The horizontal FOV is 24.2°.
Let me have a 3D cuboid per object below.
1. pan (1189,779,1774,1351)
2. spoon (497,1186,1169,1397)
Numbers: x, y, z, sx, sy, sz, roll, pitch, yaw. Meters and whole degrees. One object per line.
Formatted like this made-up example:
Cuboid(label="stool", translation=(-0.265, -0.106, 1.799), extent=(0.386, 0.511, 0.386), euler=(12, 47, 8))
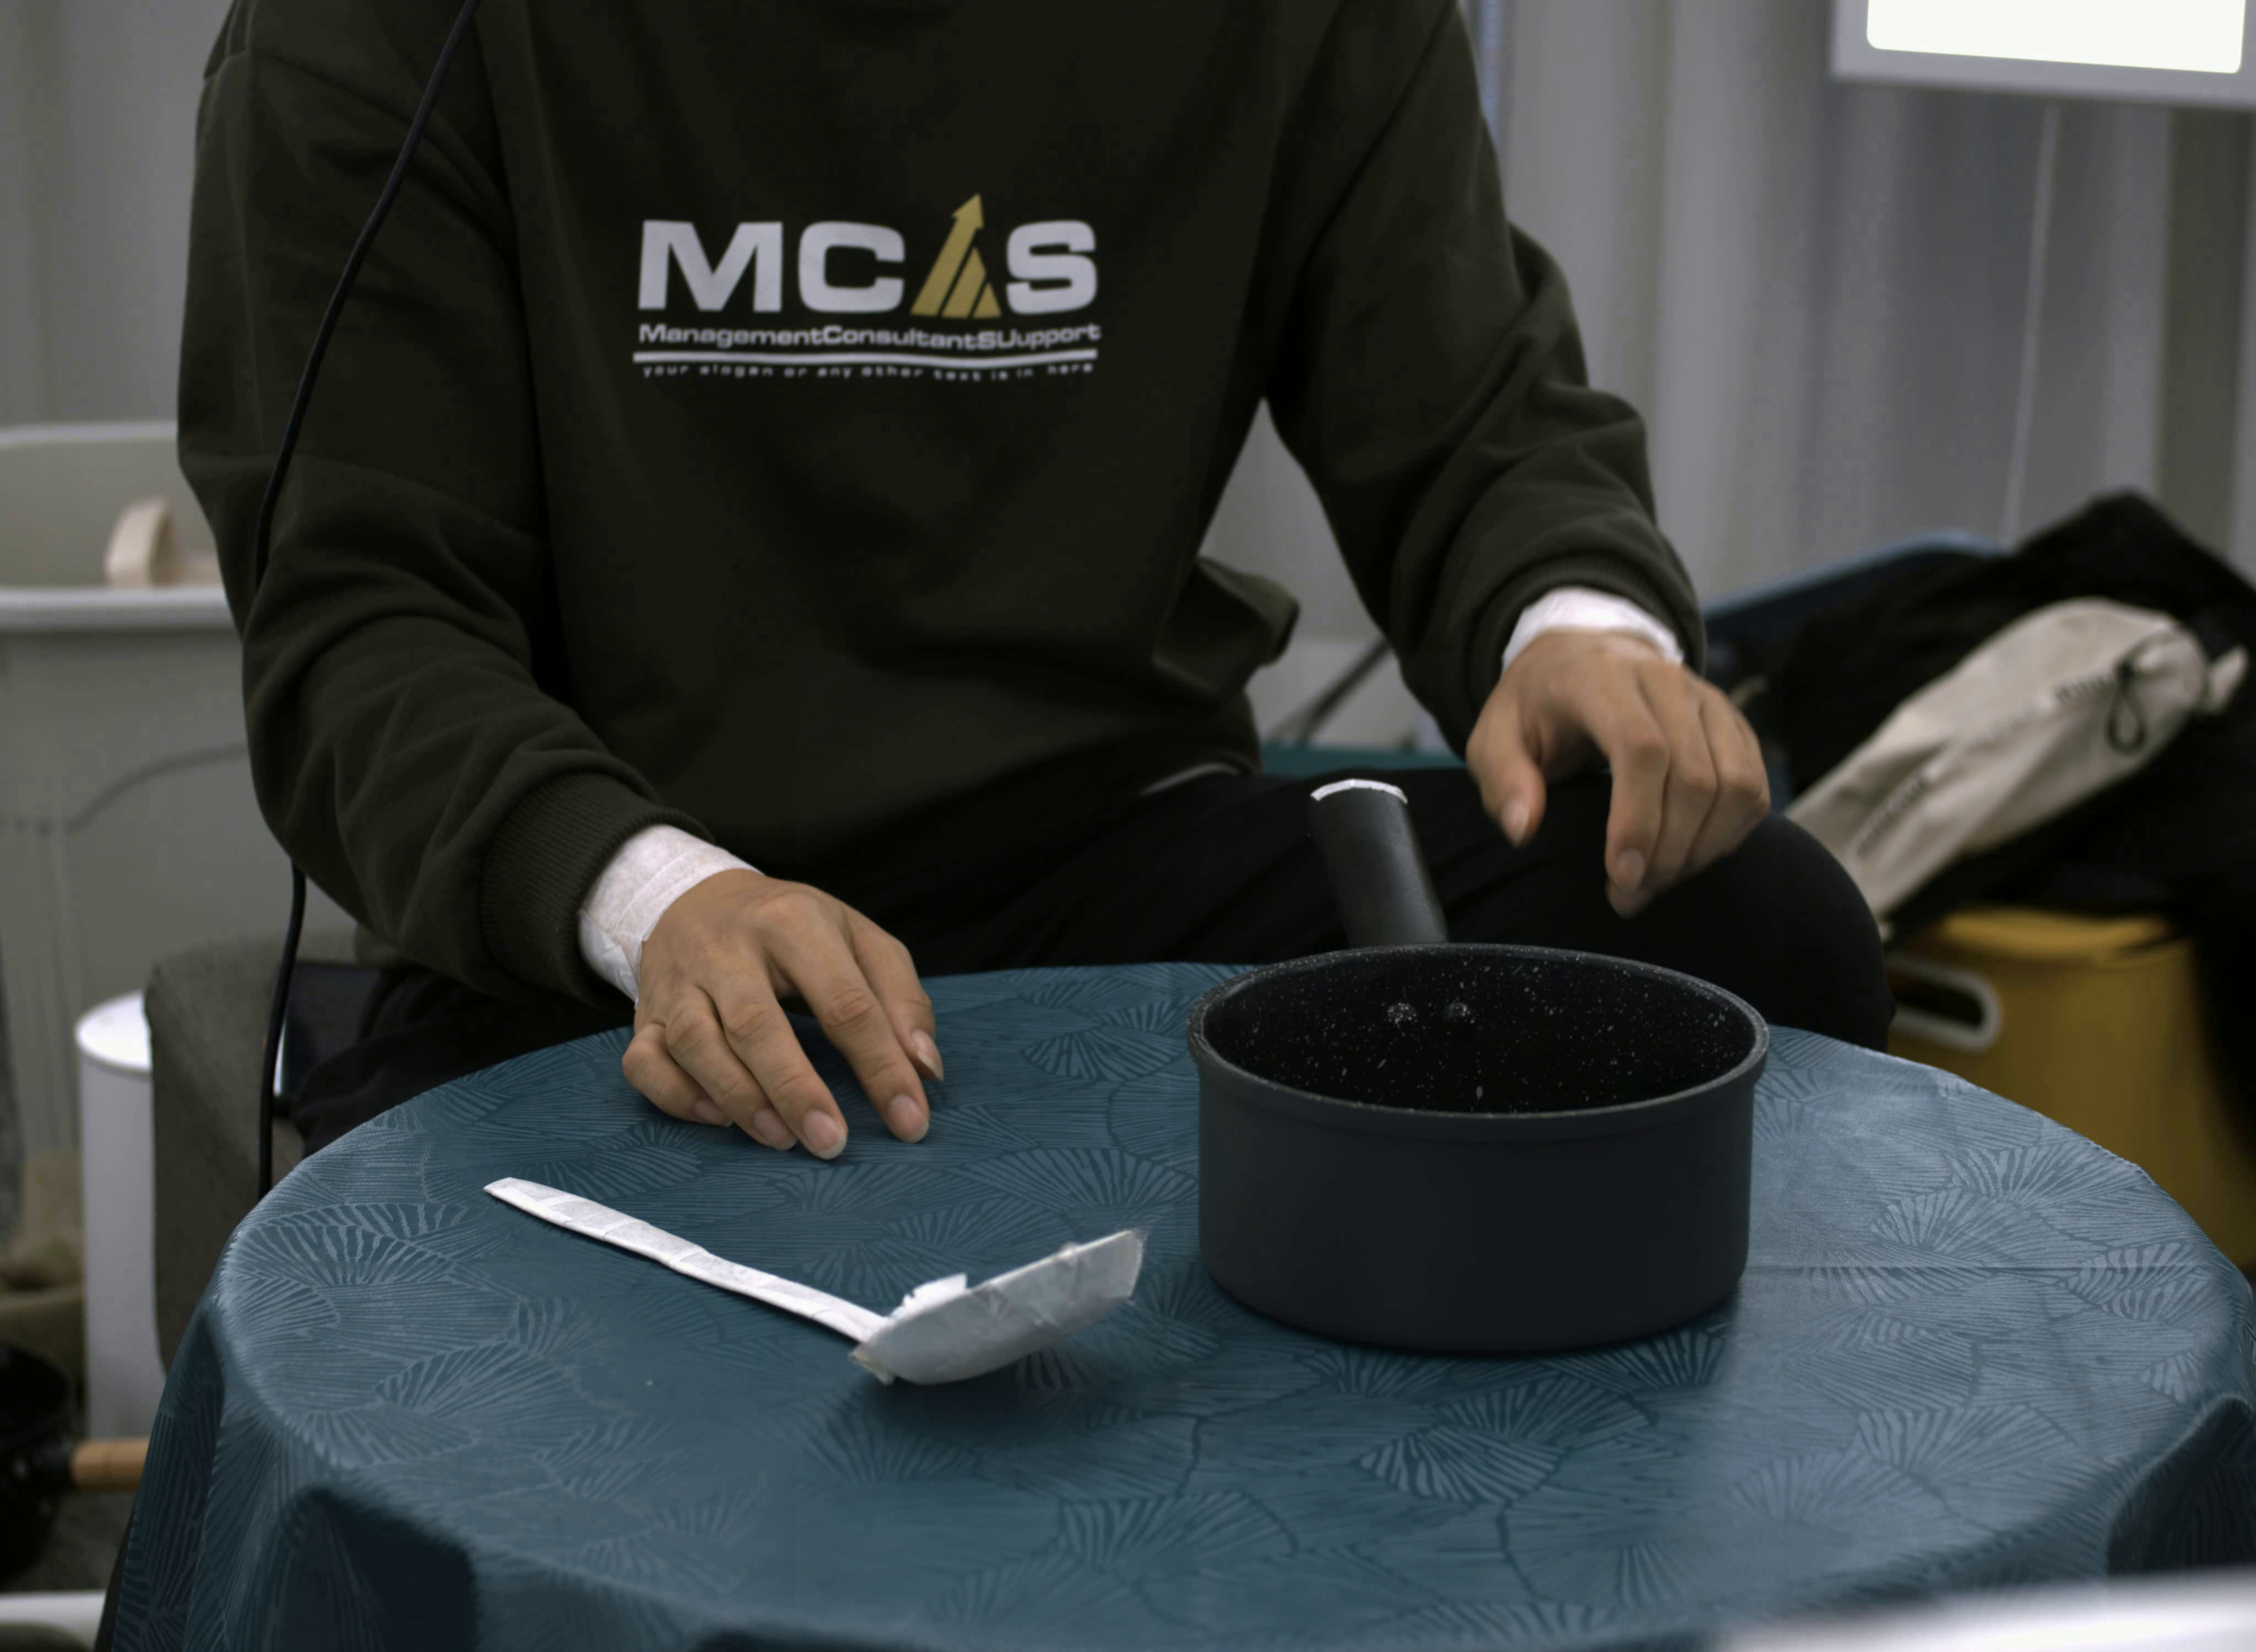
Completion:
Cuboid(label="pan", translation=(0.098, 0.070, 1.626), extent=(0.171, 0.087, 0.326), euler=(1, 16, -4))
Cuboid(label="spoon", translation=(-0.095, 0.116, 1.529), extent=(0.101, 0.060, 0.273), euler=(1, 11, -42))
